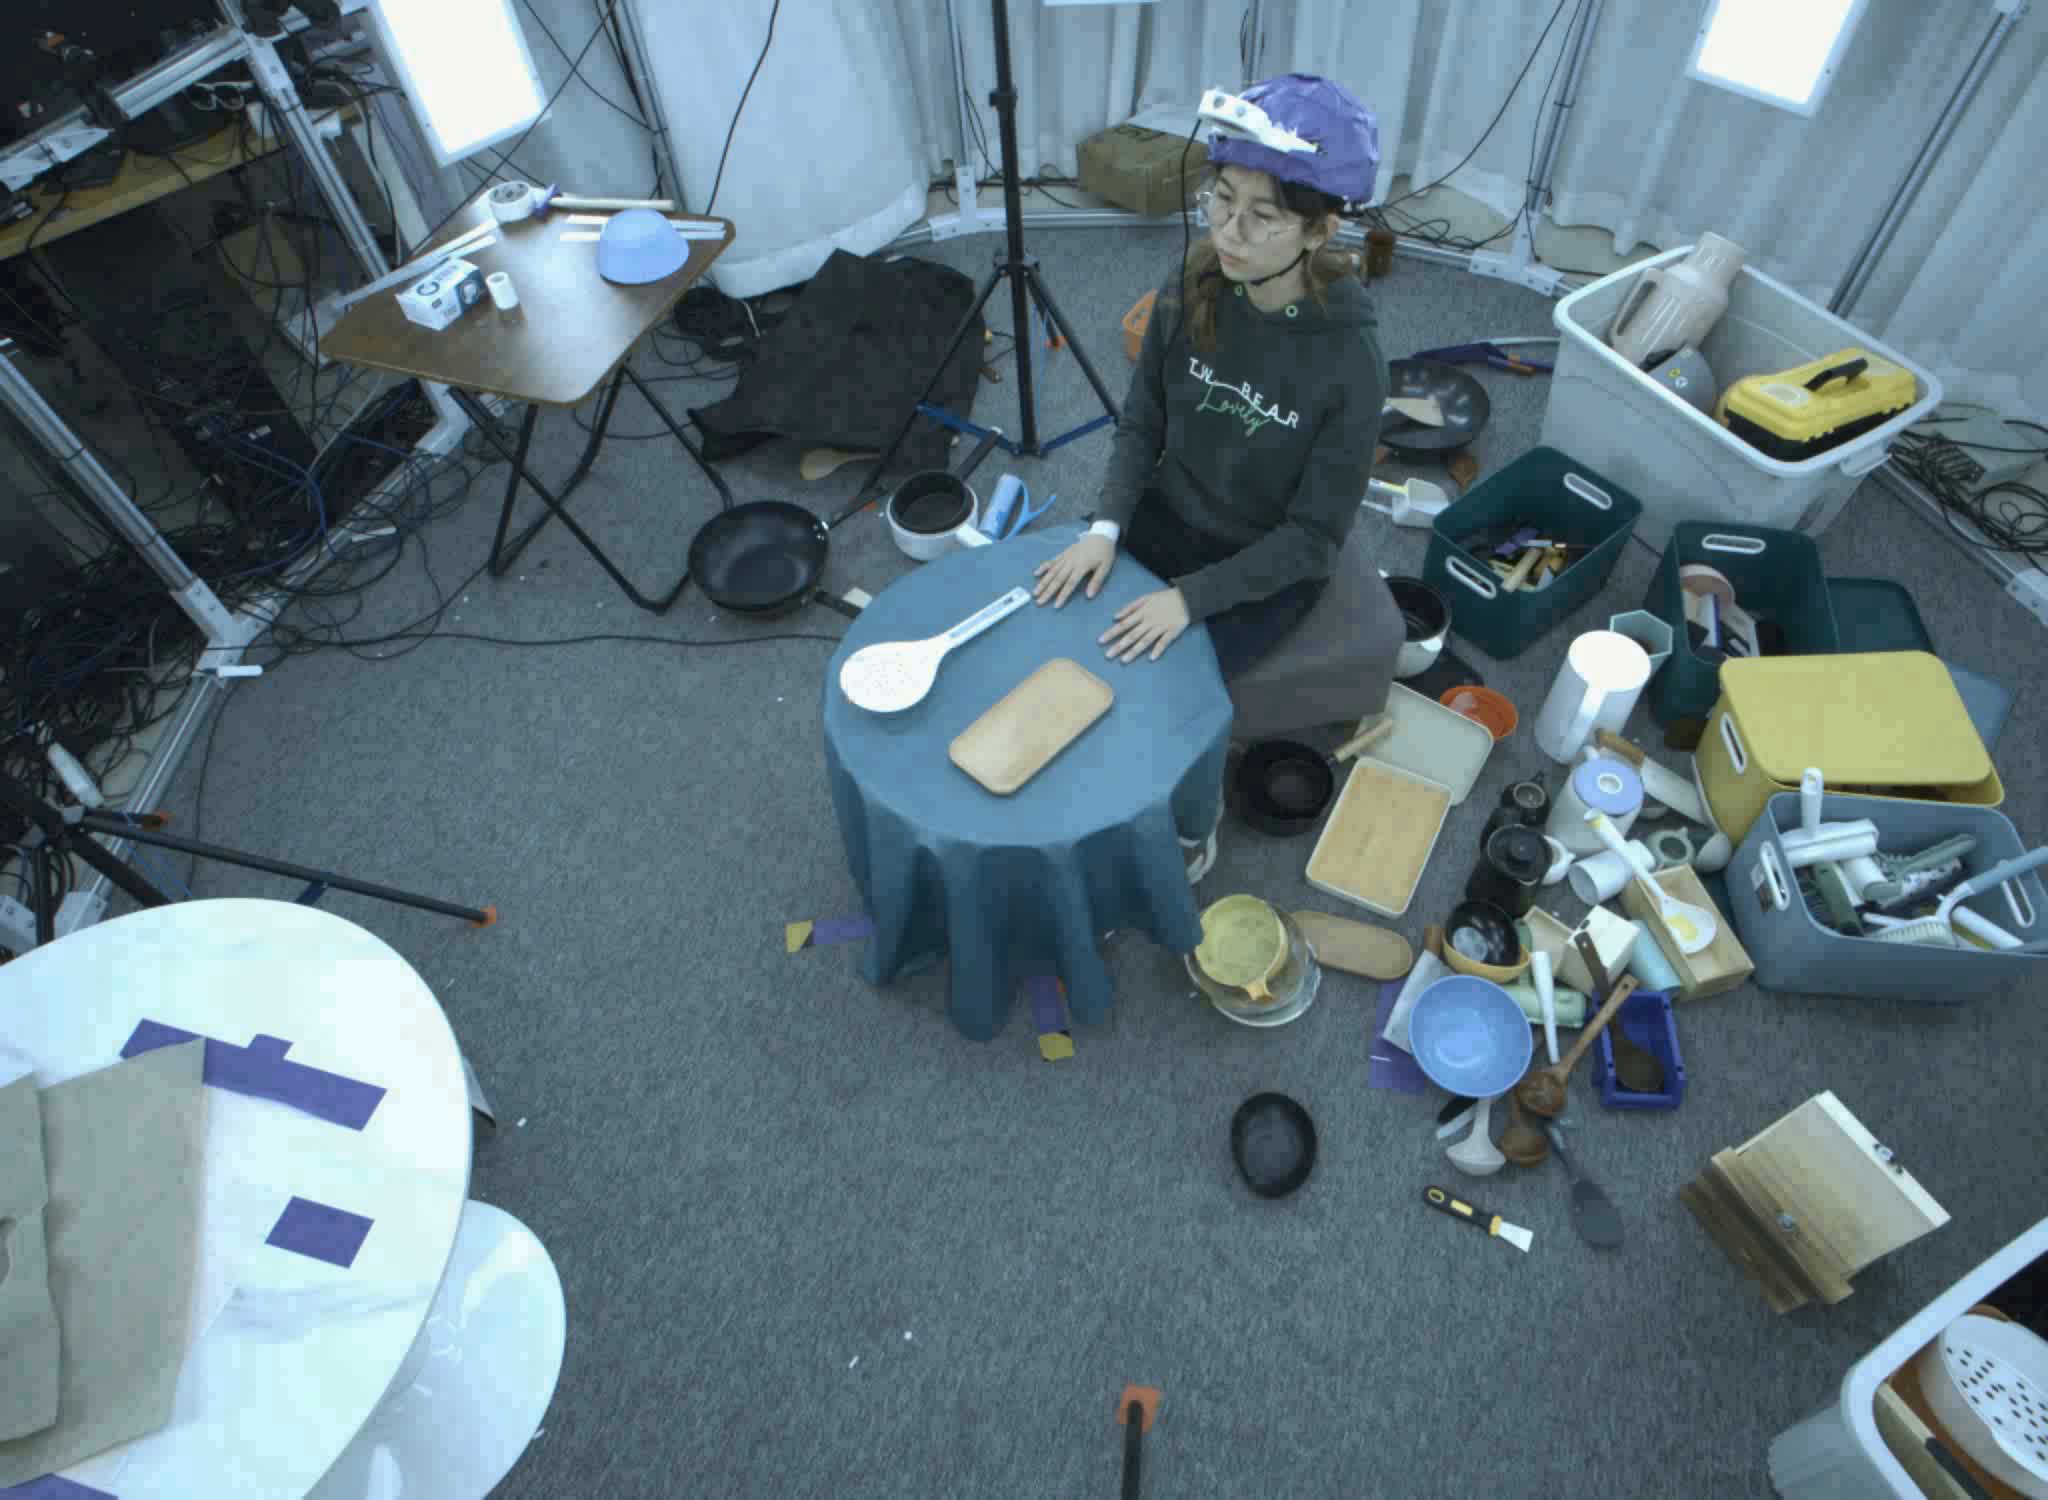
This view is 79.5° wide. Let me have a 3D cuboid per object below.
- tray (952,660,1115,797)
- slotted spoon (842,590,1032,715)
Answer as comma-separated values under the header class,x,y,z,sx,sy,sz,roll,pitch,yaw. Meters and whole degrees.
class,x,y,z,sx,sy,sz,roll,pitch,yaw
tray,0.016,-0.033,1.810,0.128,0.023,0.252,39,63,23
slotted spoon,-0.124,-0.157,1.884,0.352,0.046,0.134,-37,64,-23
